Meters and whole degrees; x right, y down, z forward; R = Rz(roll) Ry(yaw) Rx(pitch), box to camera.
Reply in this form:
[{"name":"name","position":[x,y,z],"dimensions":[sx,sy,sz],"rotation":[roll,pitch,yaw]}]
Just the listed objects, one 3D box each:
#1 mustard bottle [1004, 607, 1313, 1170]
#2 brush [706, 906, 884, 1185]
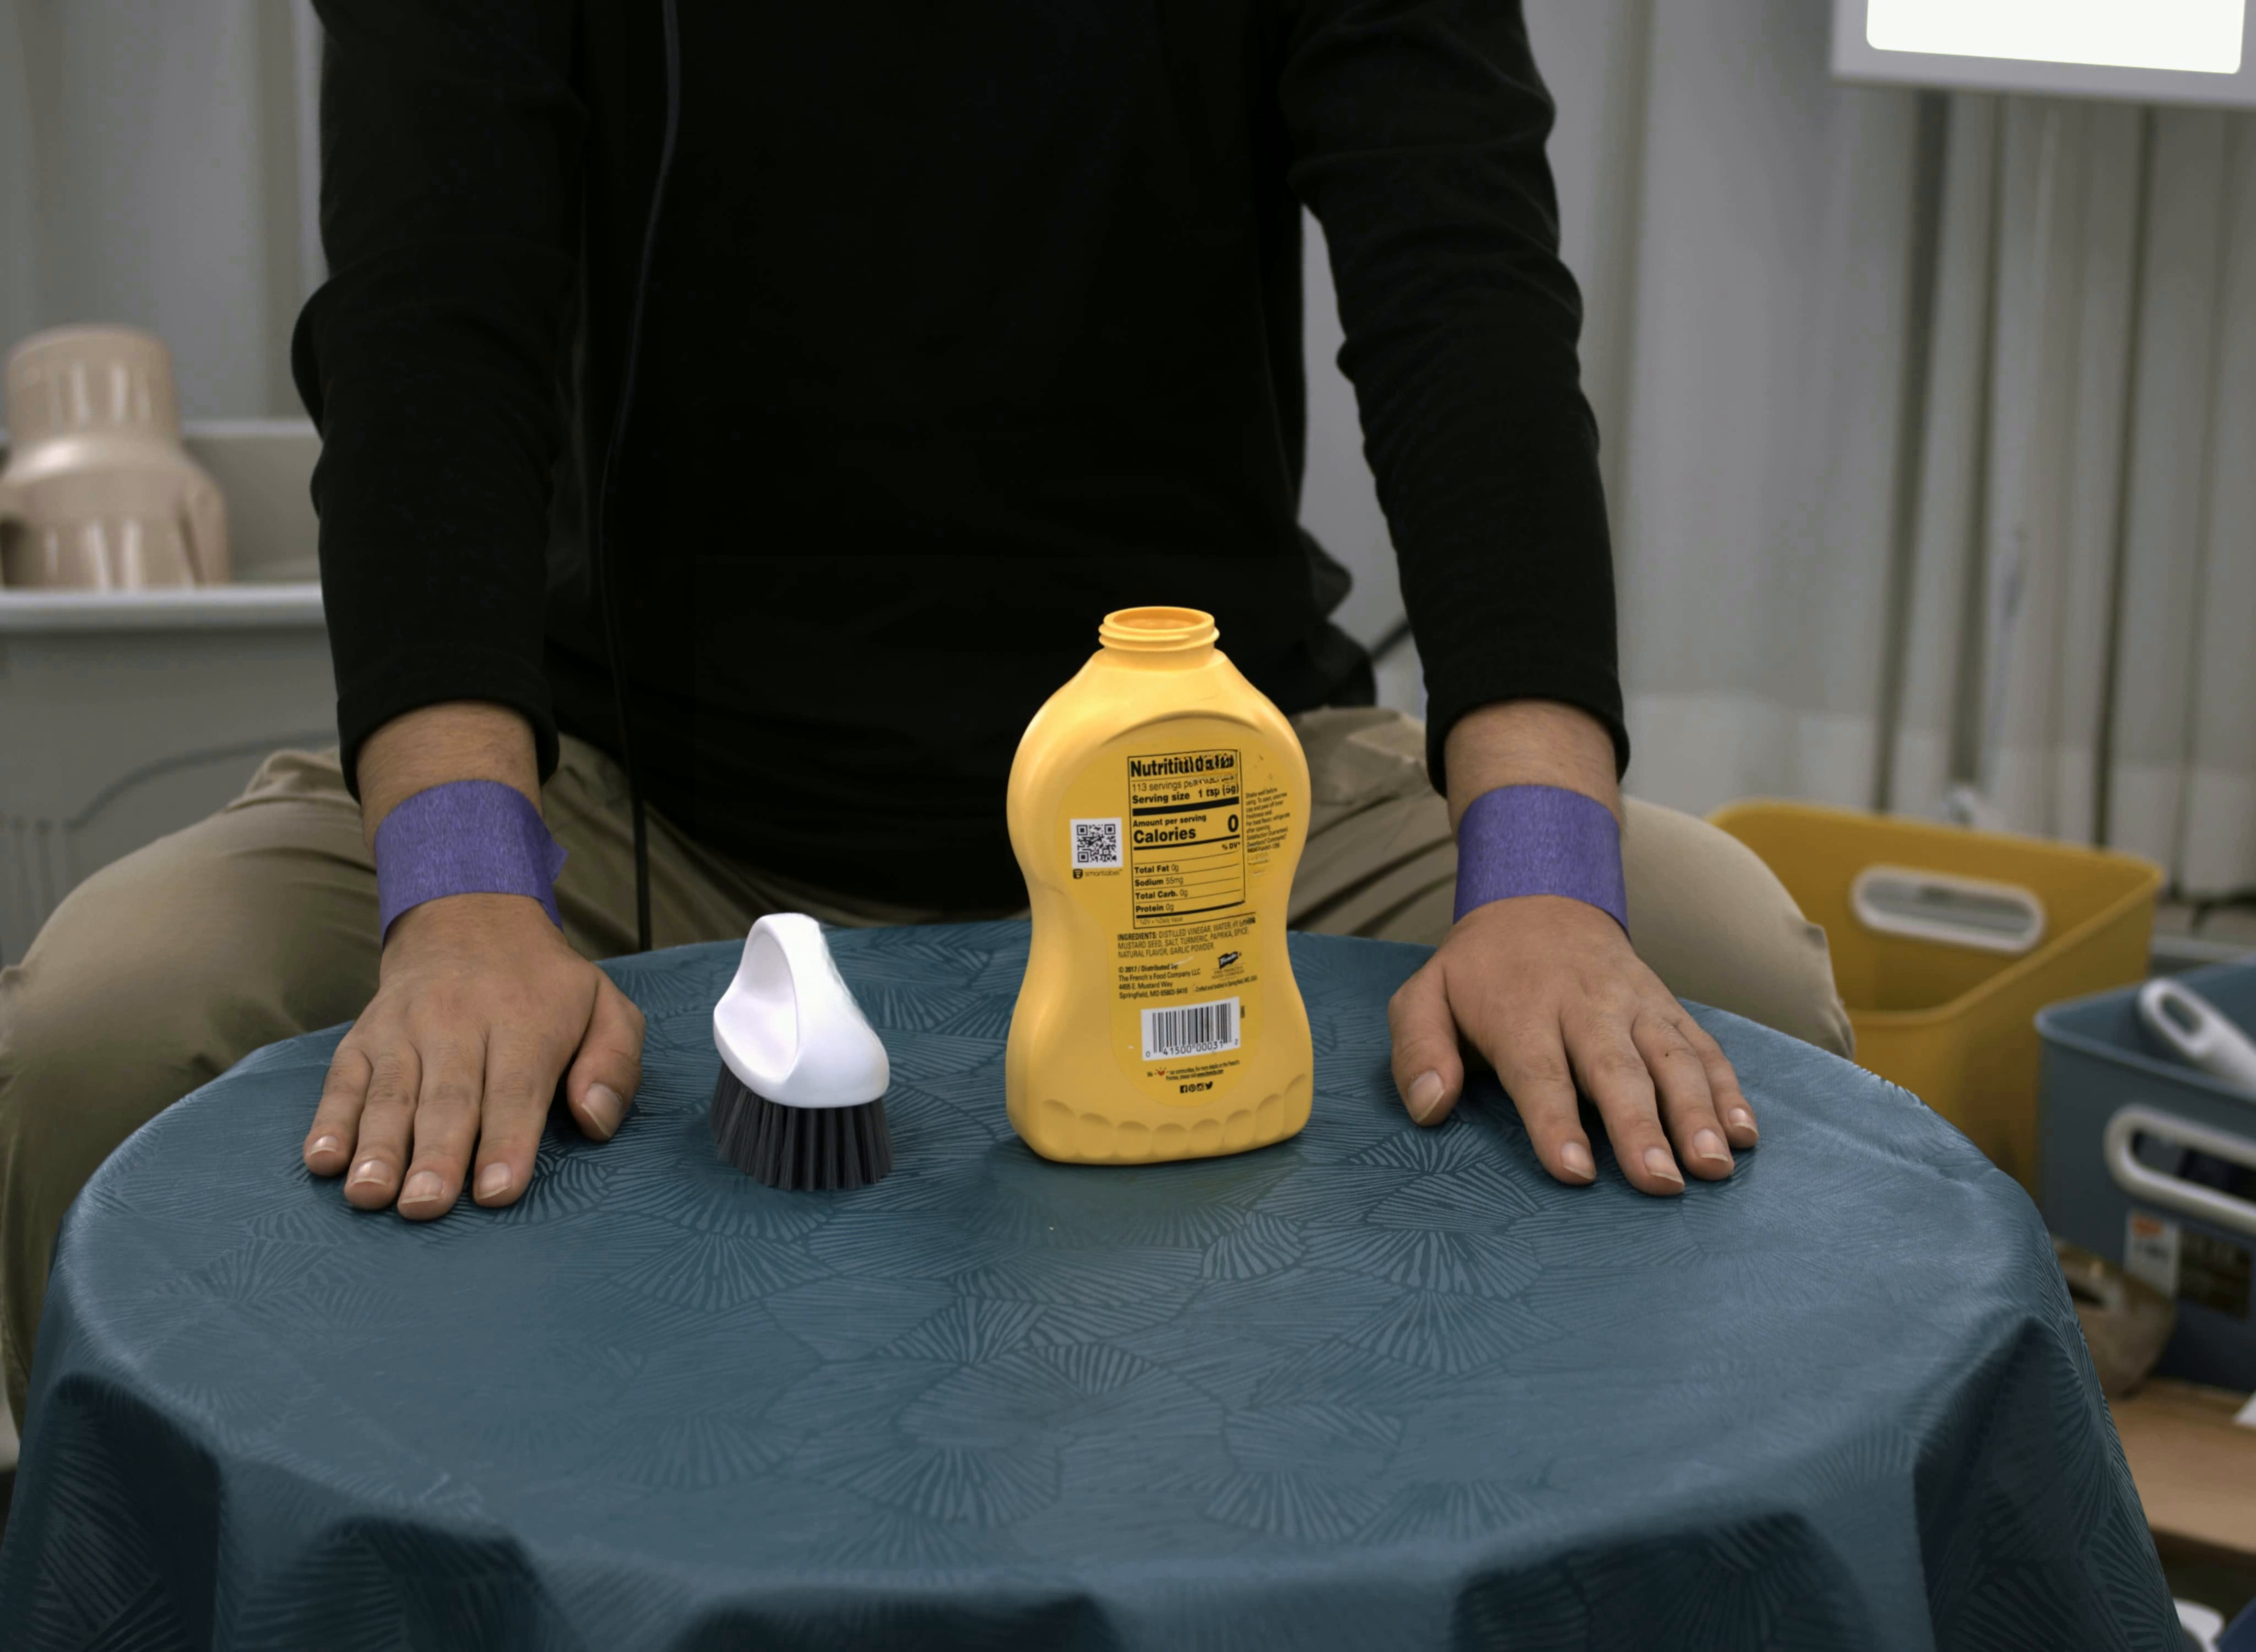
[{"name":"mustard bottle","position":[0.008,0.018,1.644],"dimensions":[0.098,0.173,0.058],"rotation":[-7,15,-20]},{"name":"brush","position":[-0.105,0.064,1.653],"dimensions":[0.050,0.073,0.098],"rotation":[-2,17,-14]}]
